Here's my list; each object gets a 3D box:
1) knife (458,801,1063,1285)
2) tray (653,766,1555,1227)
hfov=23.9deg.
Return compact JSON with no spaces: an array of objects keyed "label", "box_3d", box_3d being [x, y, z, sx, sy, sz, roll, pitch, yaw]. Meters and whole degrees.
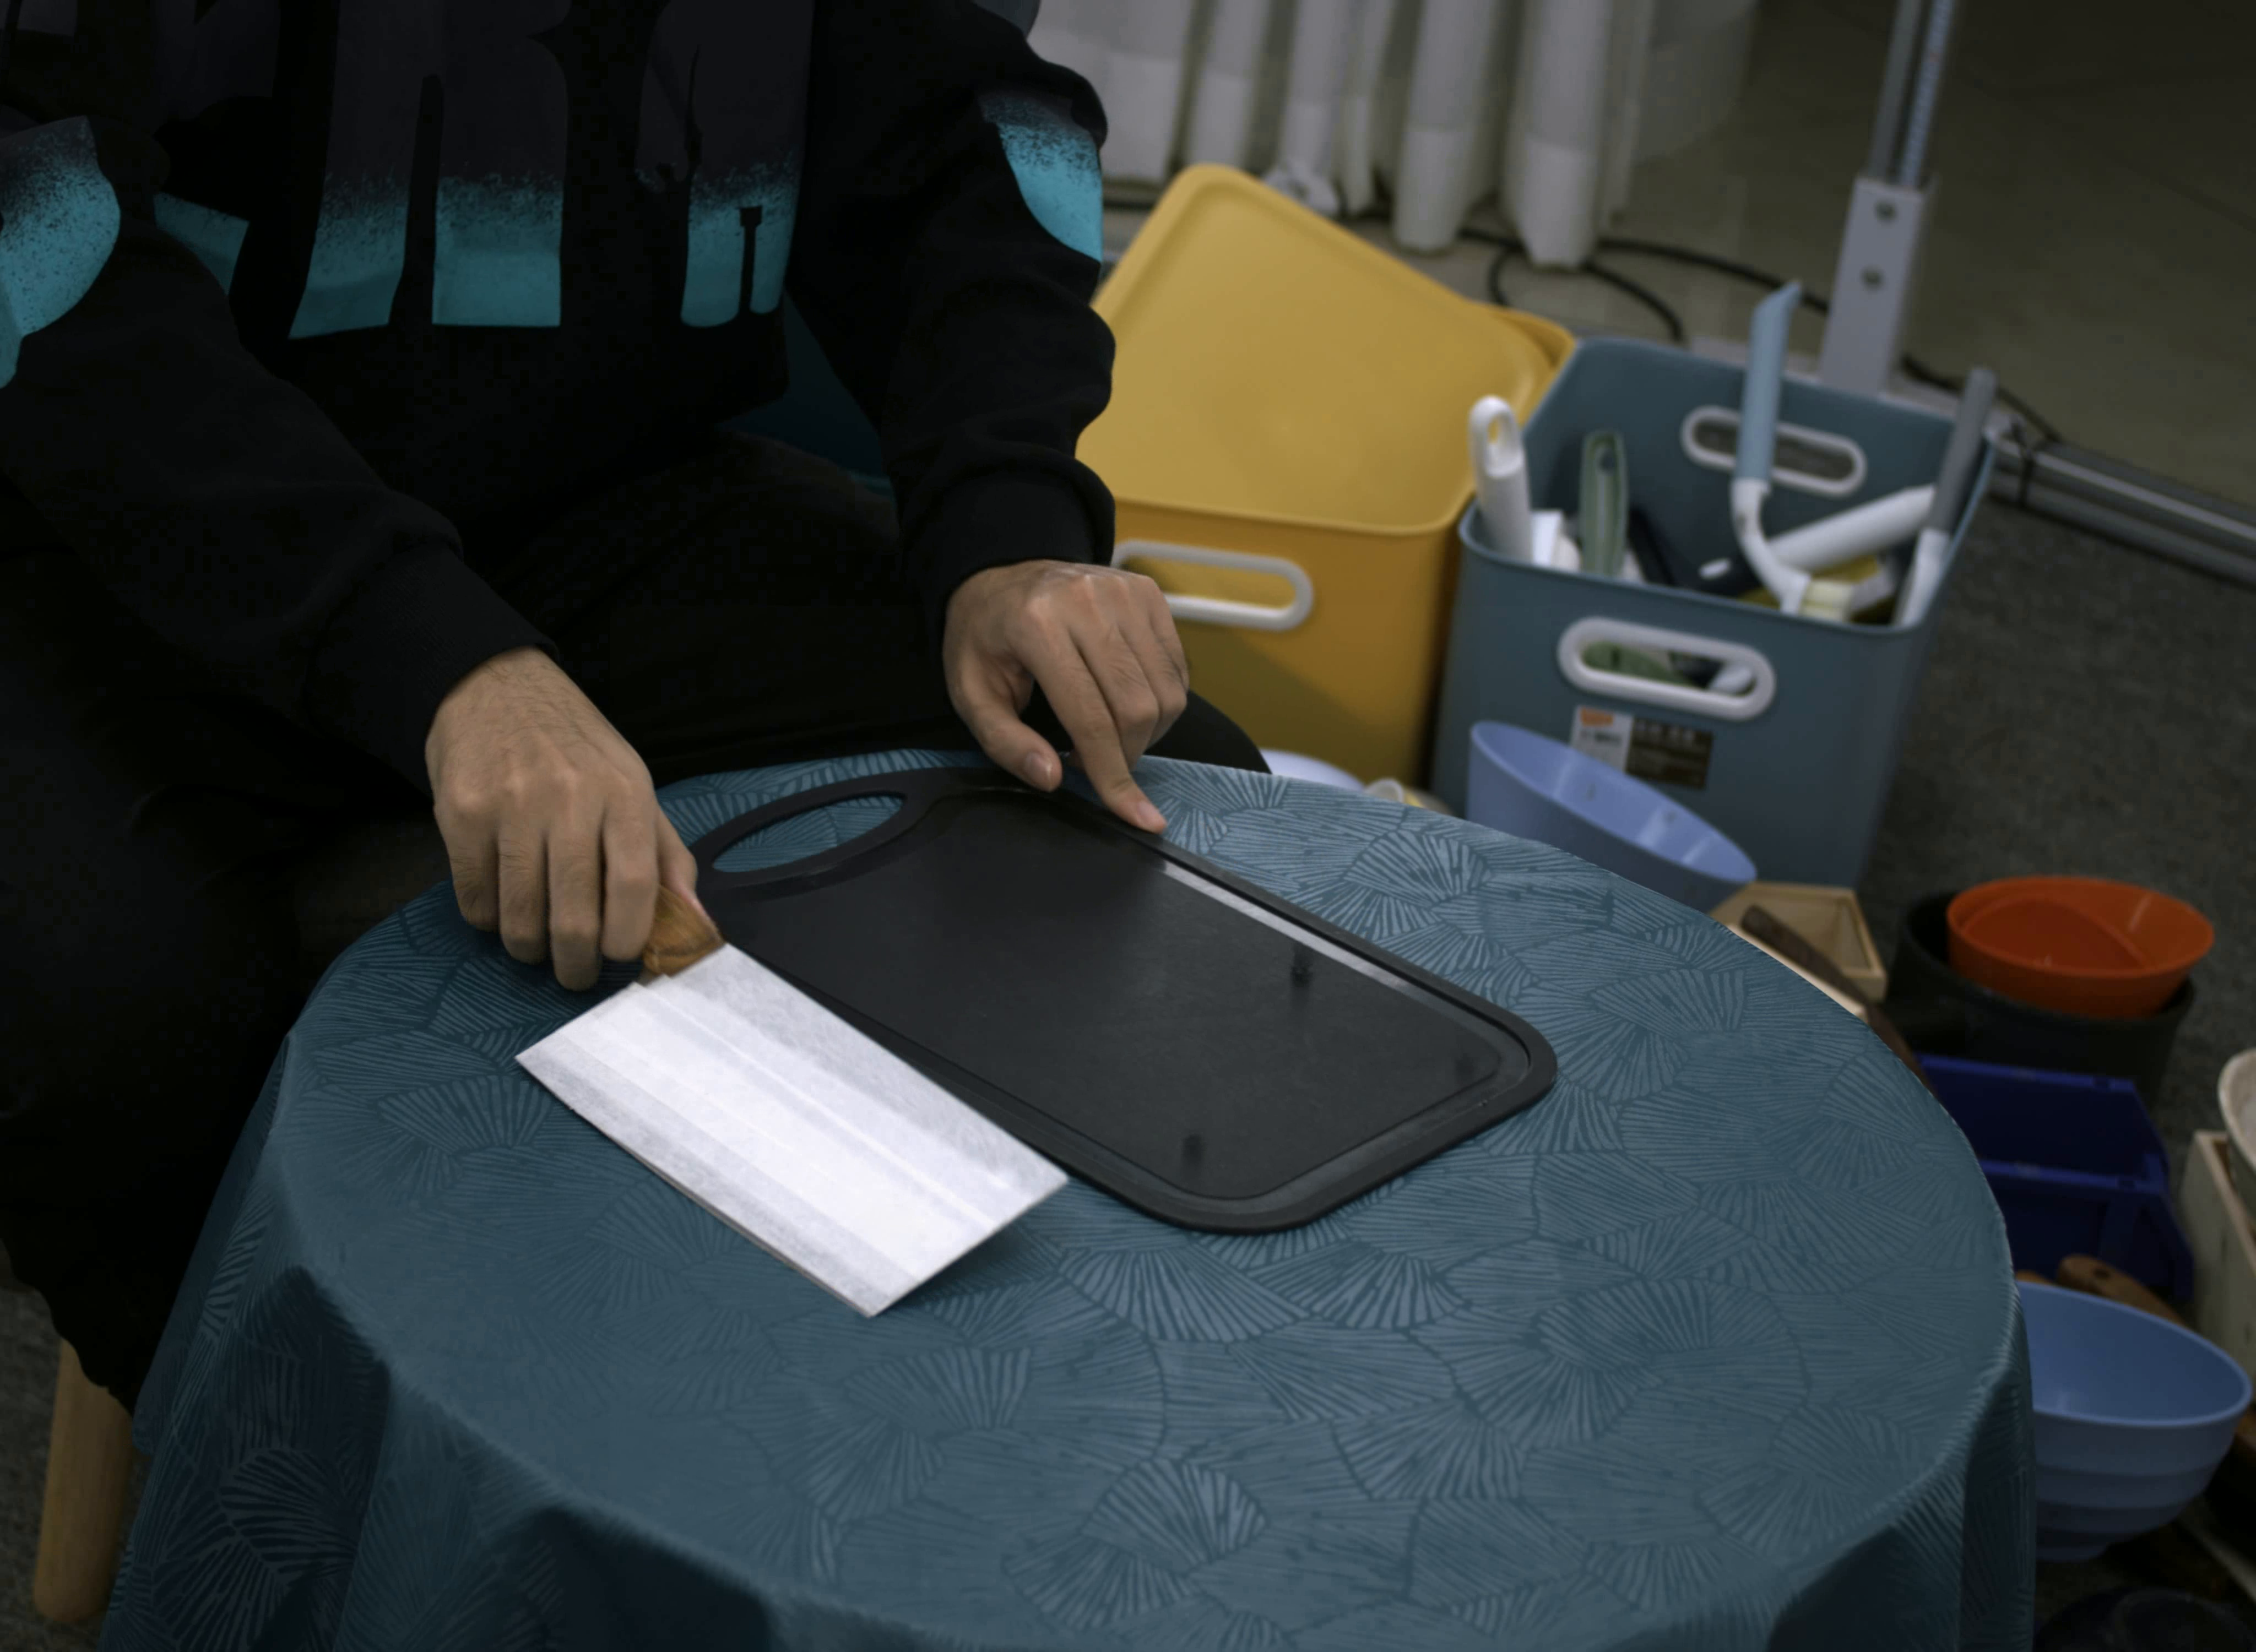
[{"label":"knife","box_3d":[-0.151,0.075,1.833,0.092,0.021,0.308,-31,44,-29]},{"label":"tray","box_3d":[-0.017,0.053,1.929,0.328,0.010,0.210,28,34,35]}]
